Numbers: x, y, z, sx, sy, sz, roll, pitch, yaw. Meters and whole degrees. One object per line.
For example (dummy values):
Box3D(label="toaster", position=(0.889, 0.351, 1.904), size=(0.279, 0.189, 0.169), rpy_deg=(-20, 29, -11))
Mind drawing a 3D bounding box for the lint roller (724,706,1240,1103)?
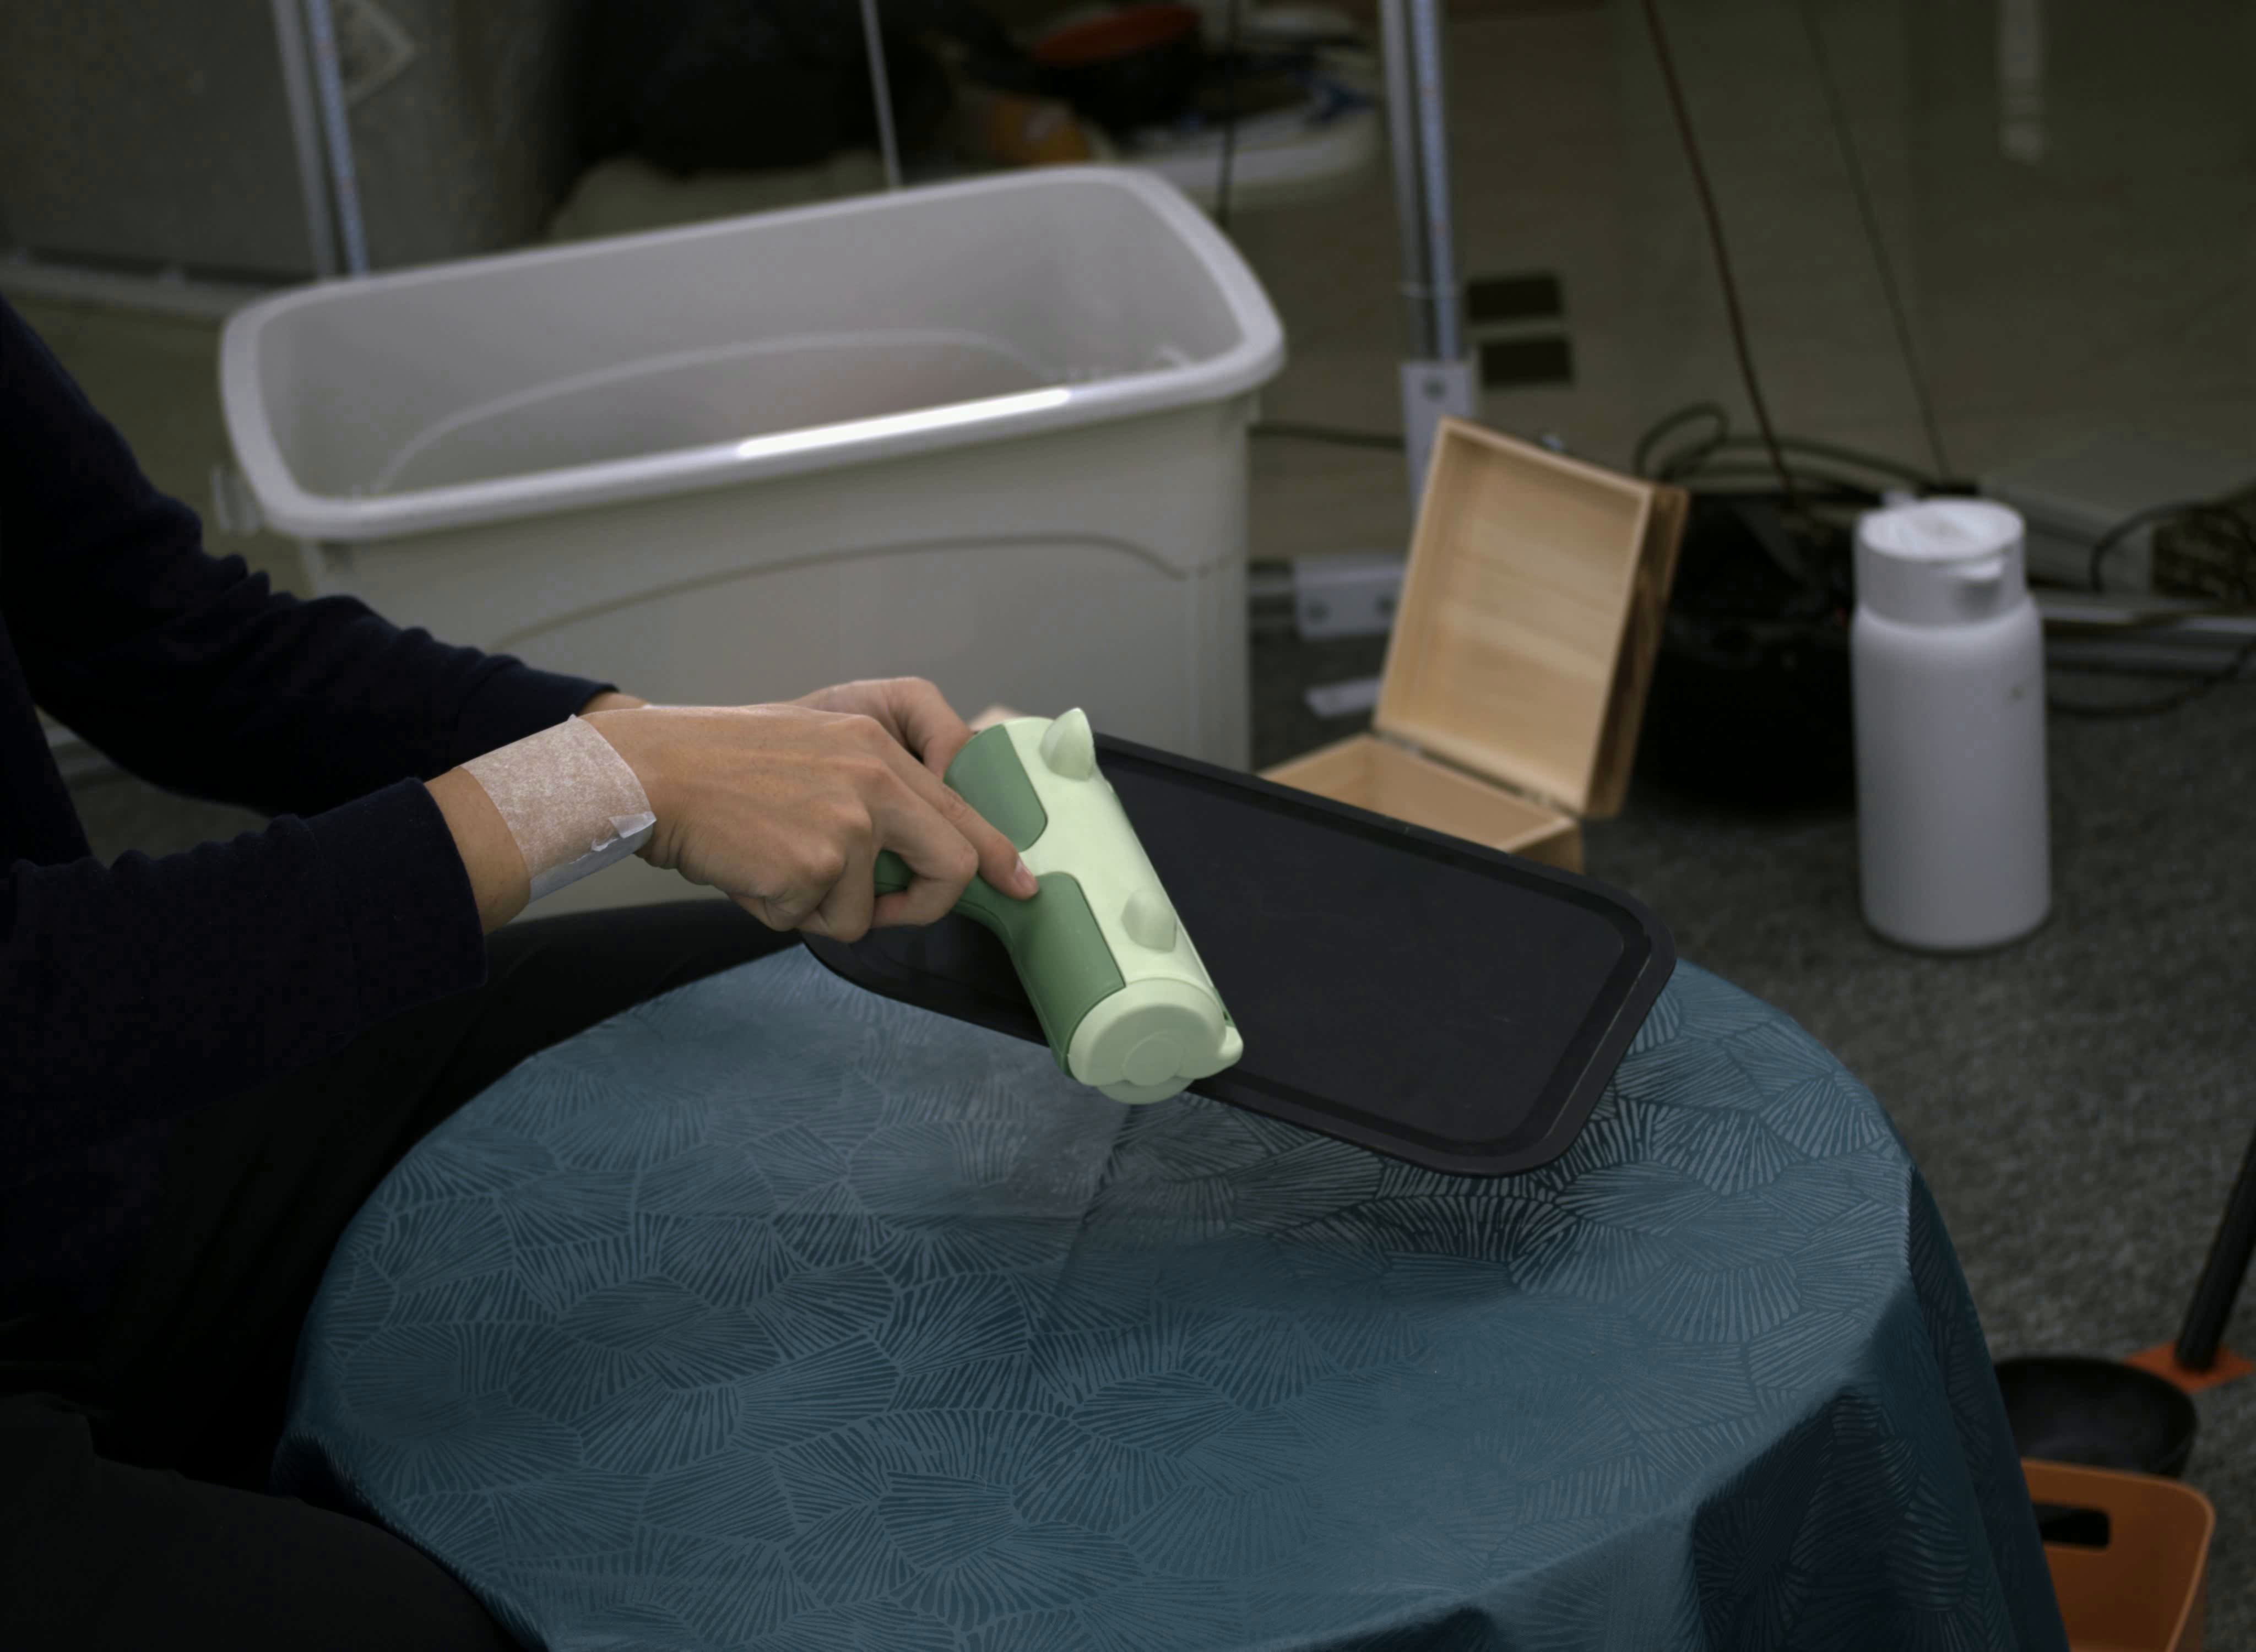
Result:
Box3D(label="lint roller", position=(-0.056, 0.002, 2.072), size=(0.184, 0.083, 0.195), rpy_deg=(26, 22, -32))

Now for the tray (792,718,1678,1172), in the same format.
Box3D(label="tray", position=(0.035, 0.038, 2.147), size=(0.324, 0.010, 0.208), rpy_deg=(18, 35, 14))
